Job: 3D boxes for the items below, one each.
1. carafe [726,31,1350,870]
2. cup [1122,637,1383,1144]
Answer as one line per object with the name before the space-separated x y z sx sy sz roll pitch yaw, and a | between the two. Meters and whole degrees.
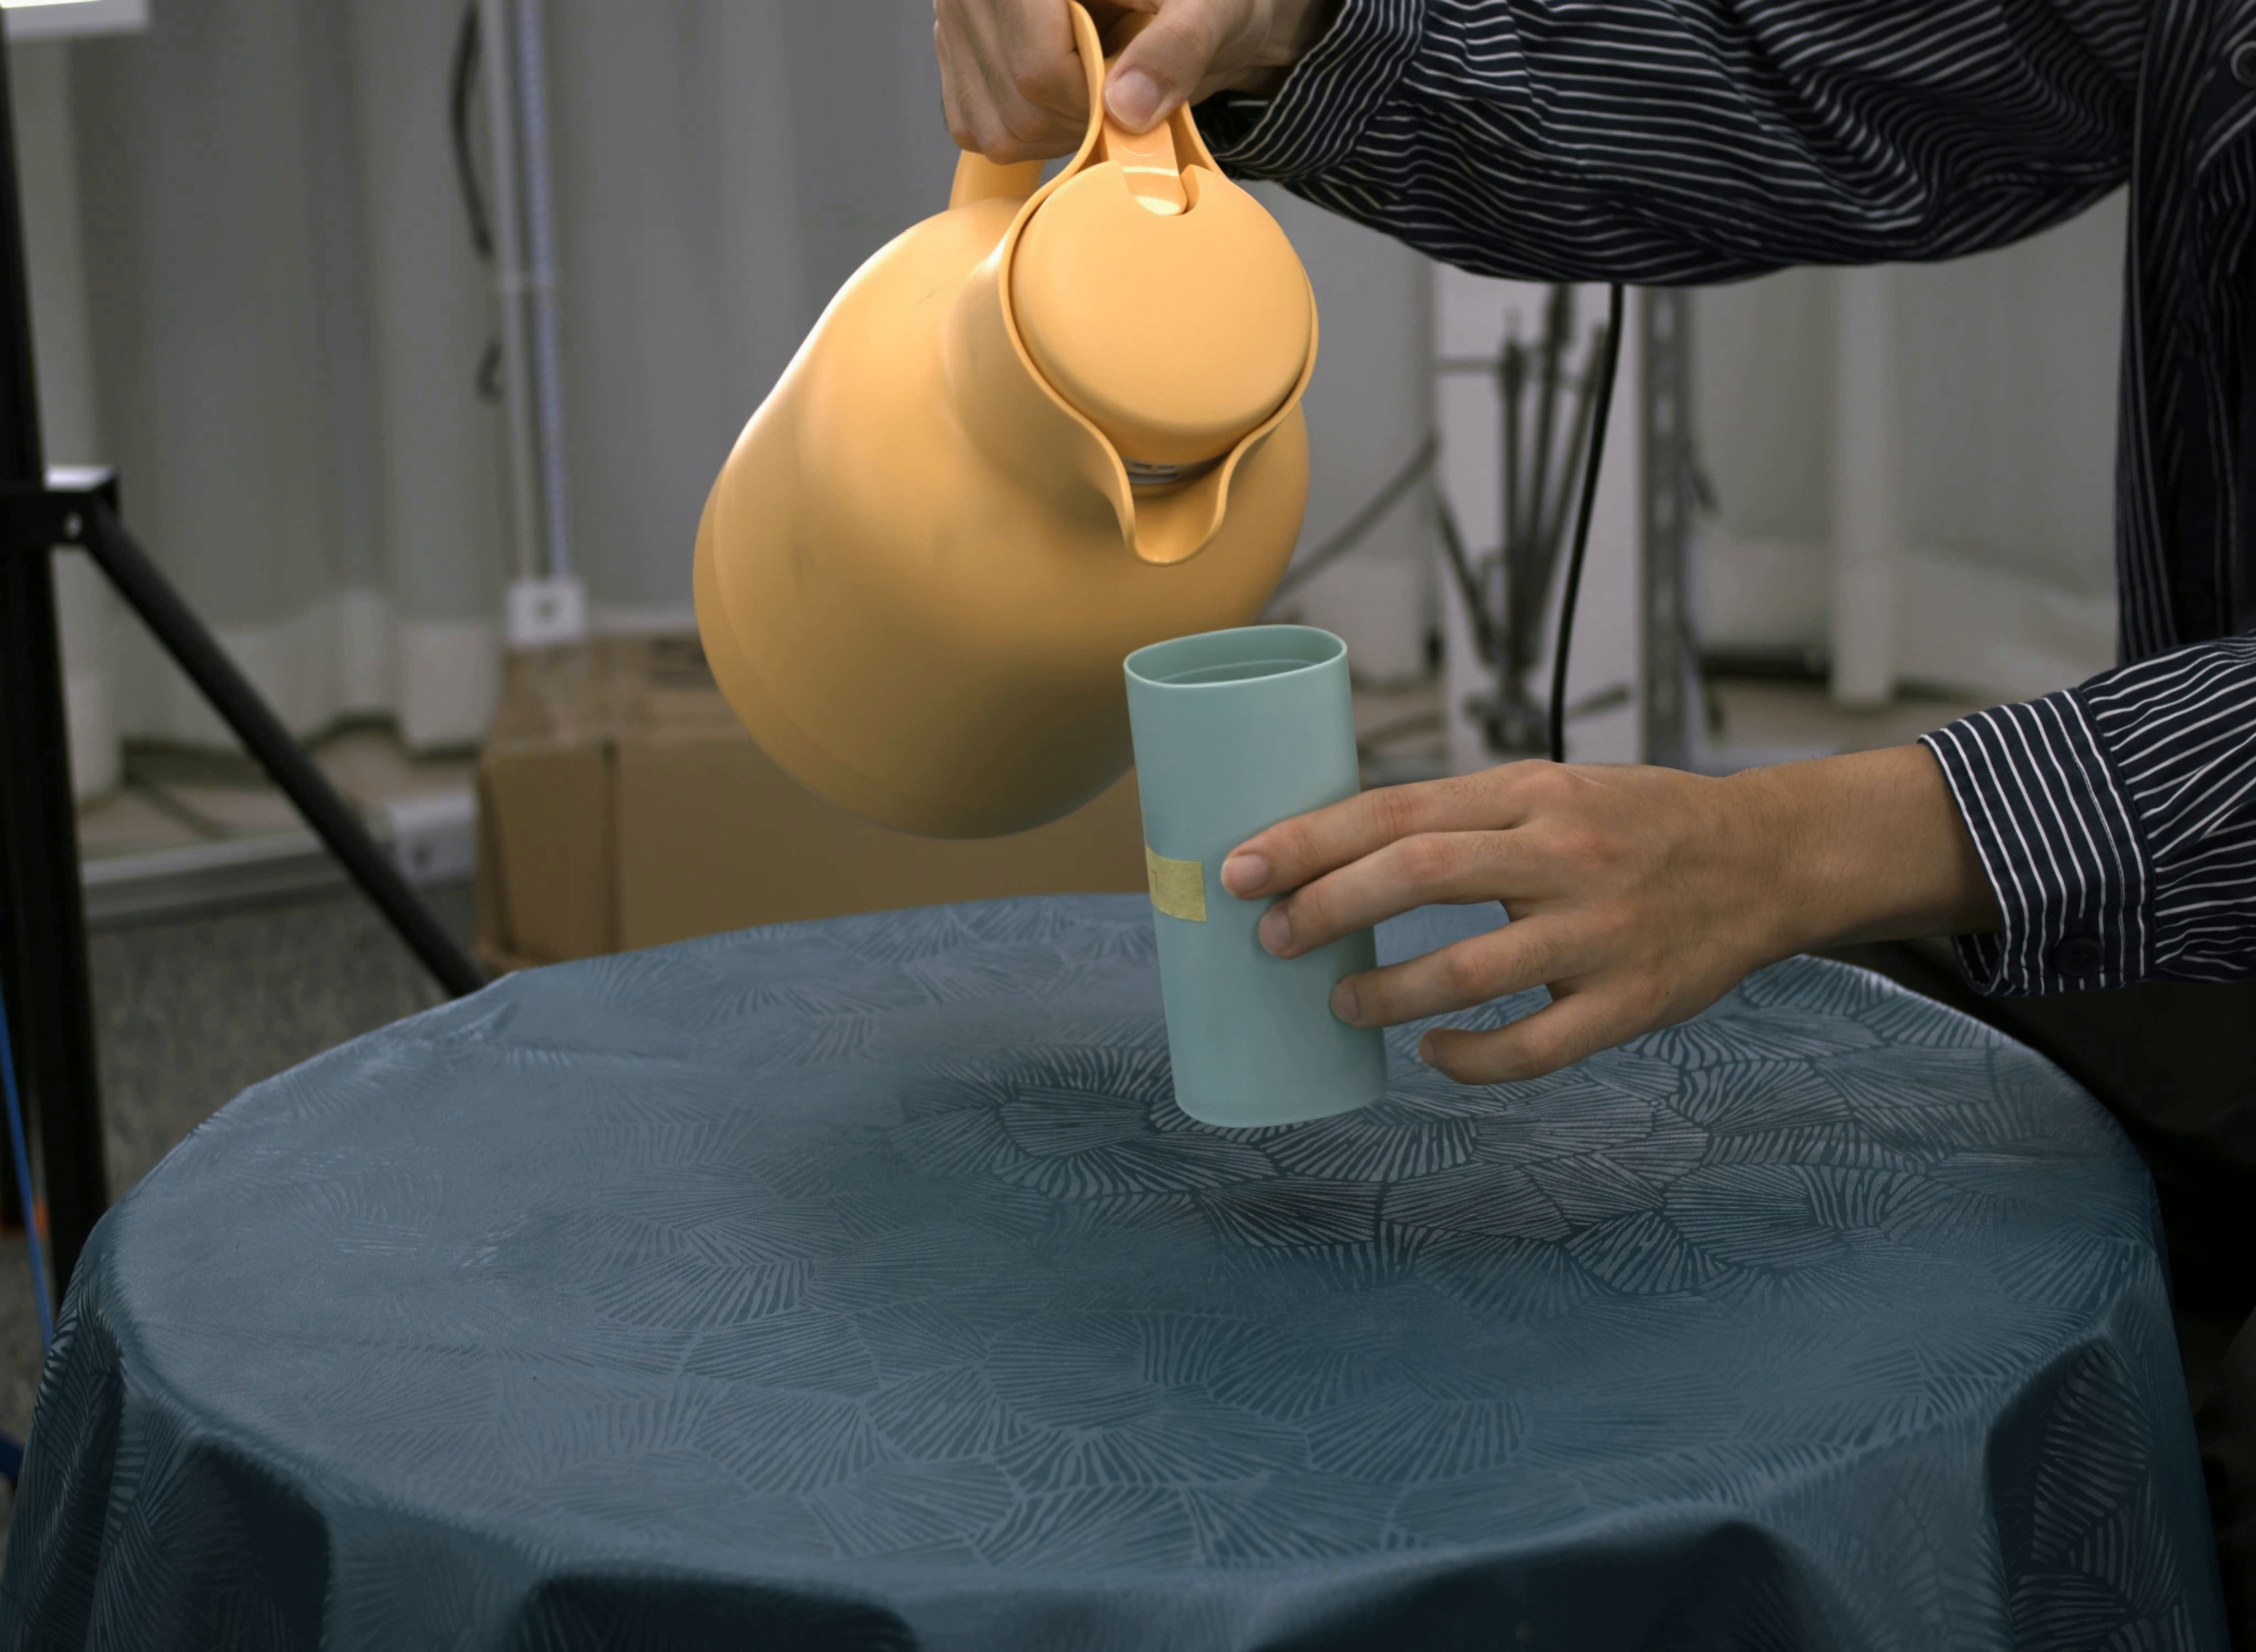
carafe | -0.019 -0.116 1.625 0.160 0.204 0.262 2 -22 -20
cup | 0.038 0.017 1.511 0.066 0.132 0.067 -6 14 0
